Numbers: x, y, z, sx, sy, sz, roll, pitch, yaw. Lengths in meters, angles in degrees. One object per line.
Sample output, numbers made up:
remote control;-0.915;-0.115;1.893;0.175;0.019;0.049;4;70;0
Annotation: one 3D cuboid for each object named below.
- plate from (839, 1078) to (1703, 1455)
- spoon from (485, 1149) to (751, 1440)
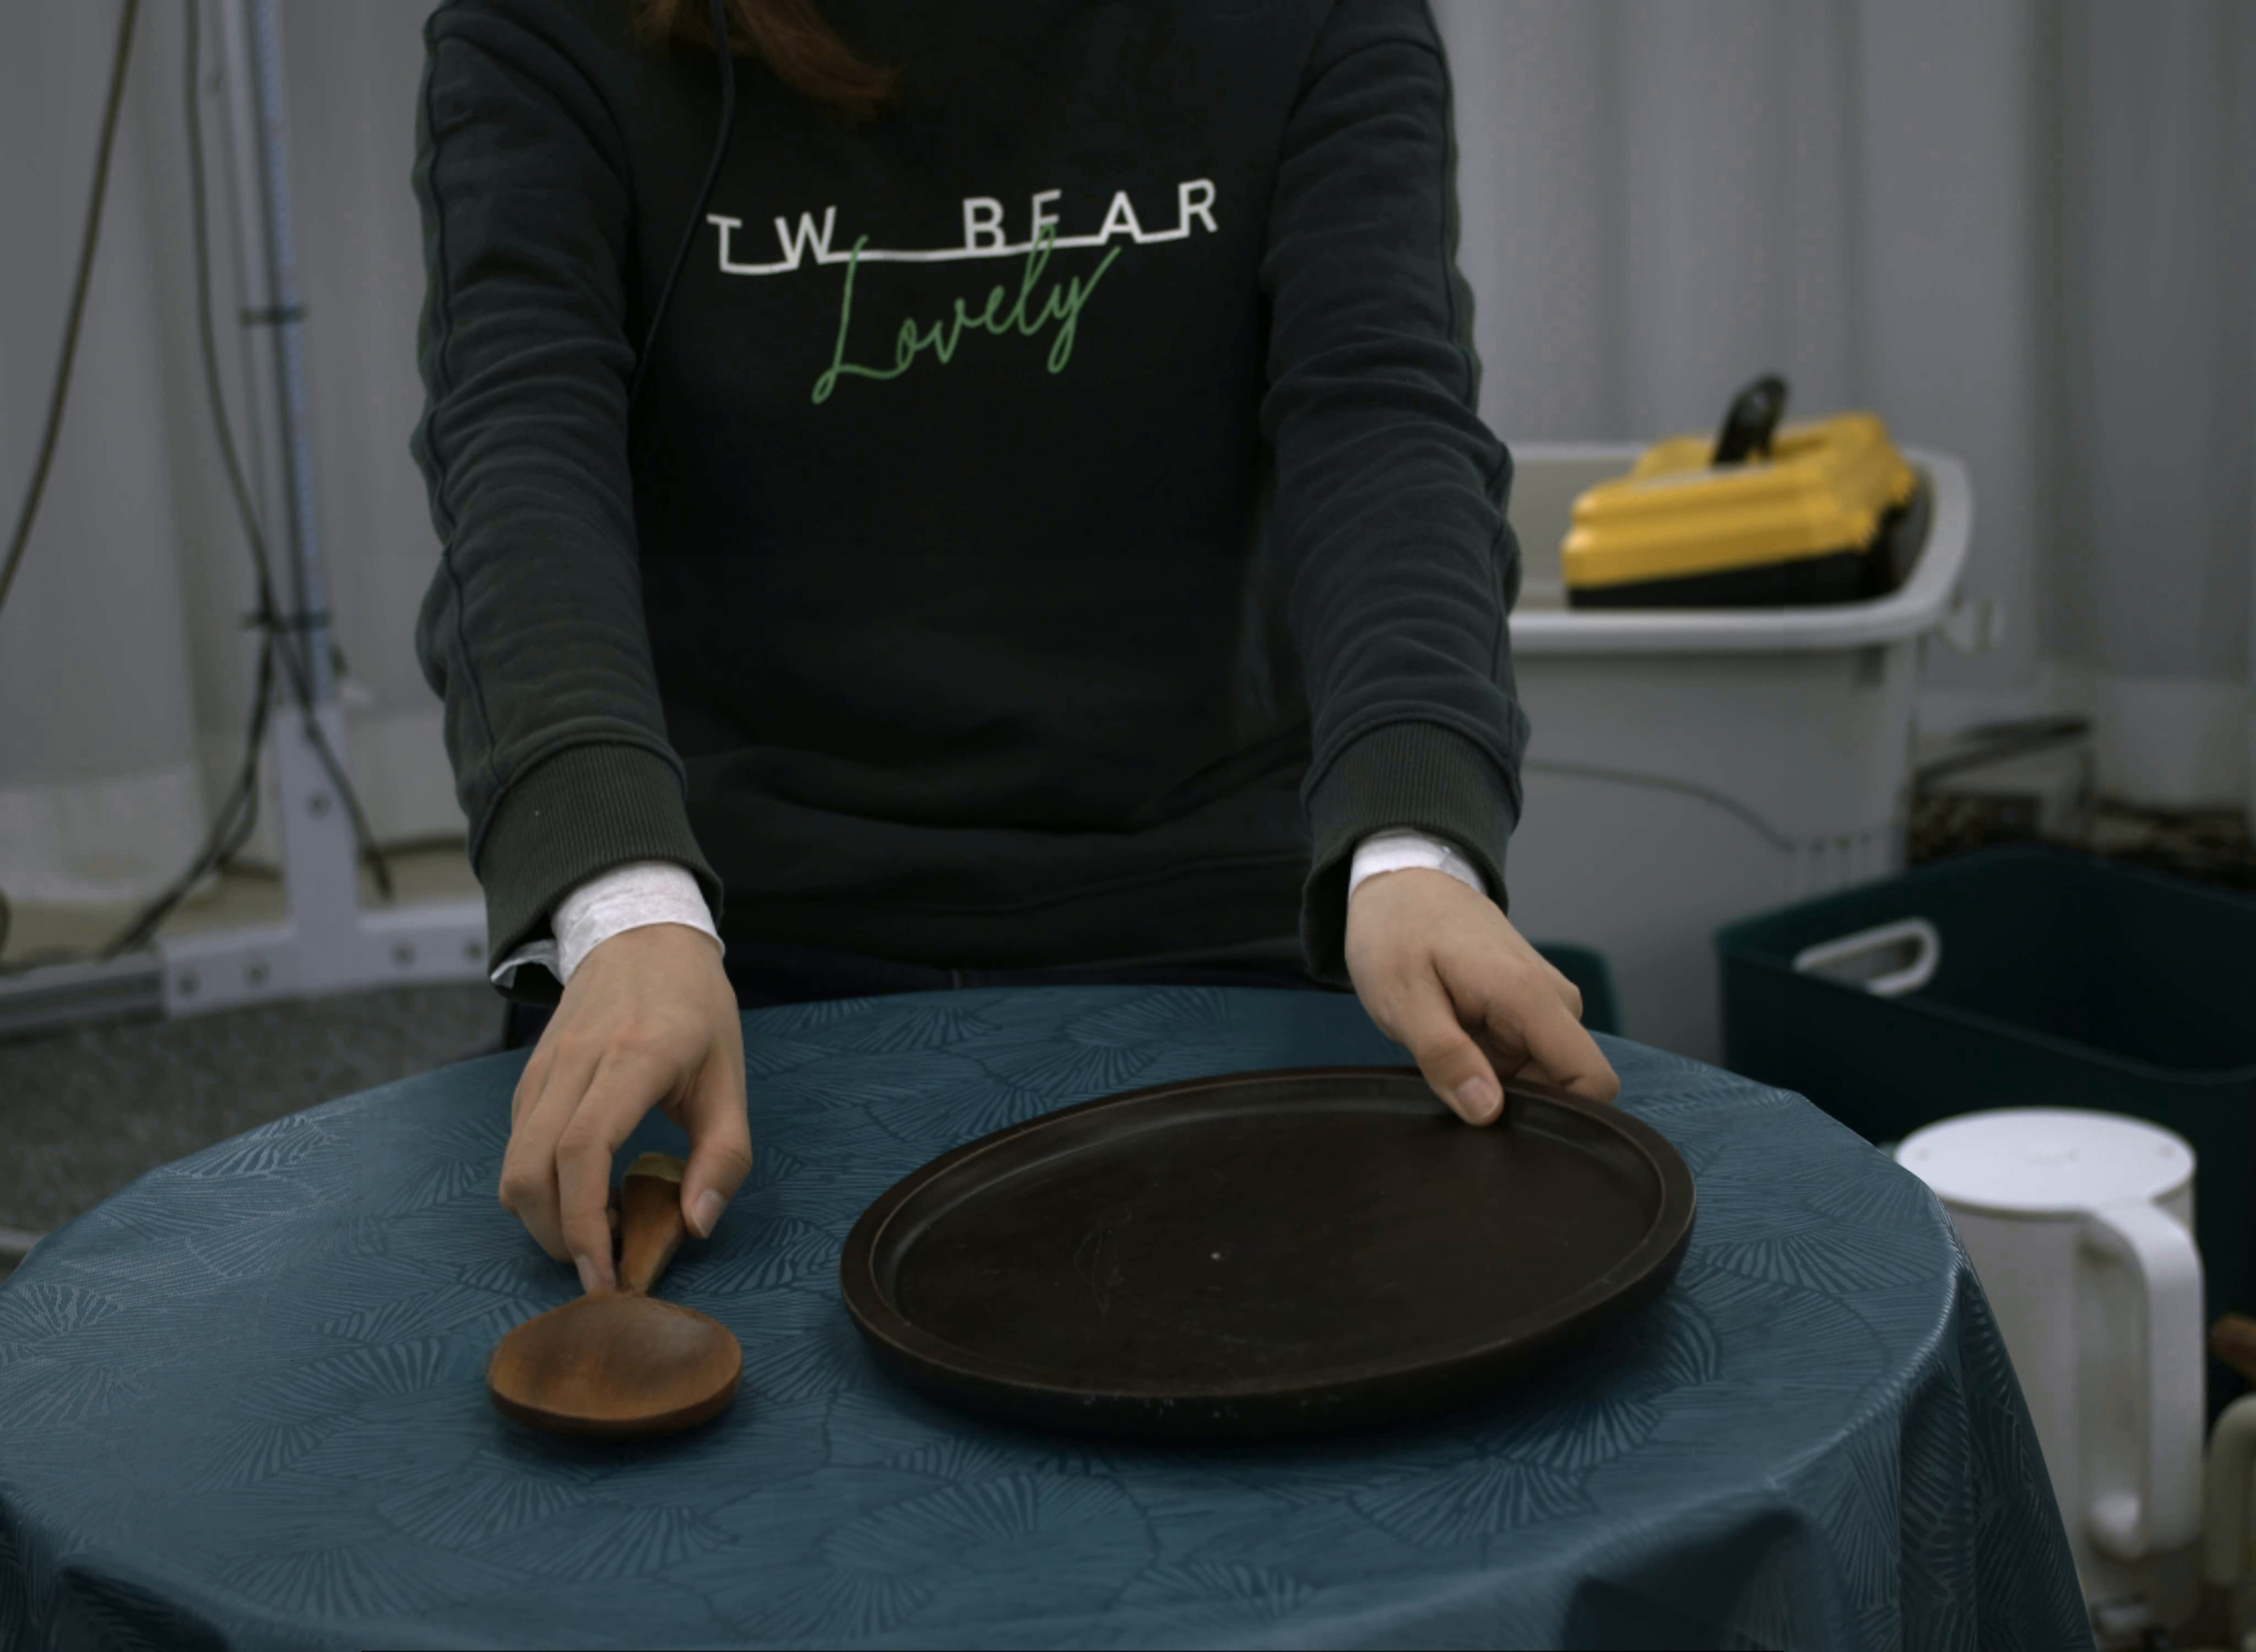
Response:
plate;0.042;0.125;1.598;0.254;0.029;0.257;-5;18;1
spoon;-0.144;0.139;1.609;0.075;0.017;0.217;-1;17;0
